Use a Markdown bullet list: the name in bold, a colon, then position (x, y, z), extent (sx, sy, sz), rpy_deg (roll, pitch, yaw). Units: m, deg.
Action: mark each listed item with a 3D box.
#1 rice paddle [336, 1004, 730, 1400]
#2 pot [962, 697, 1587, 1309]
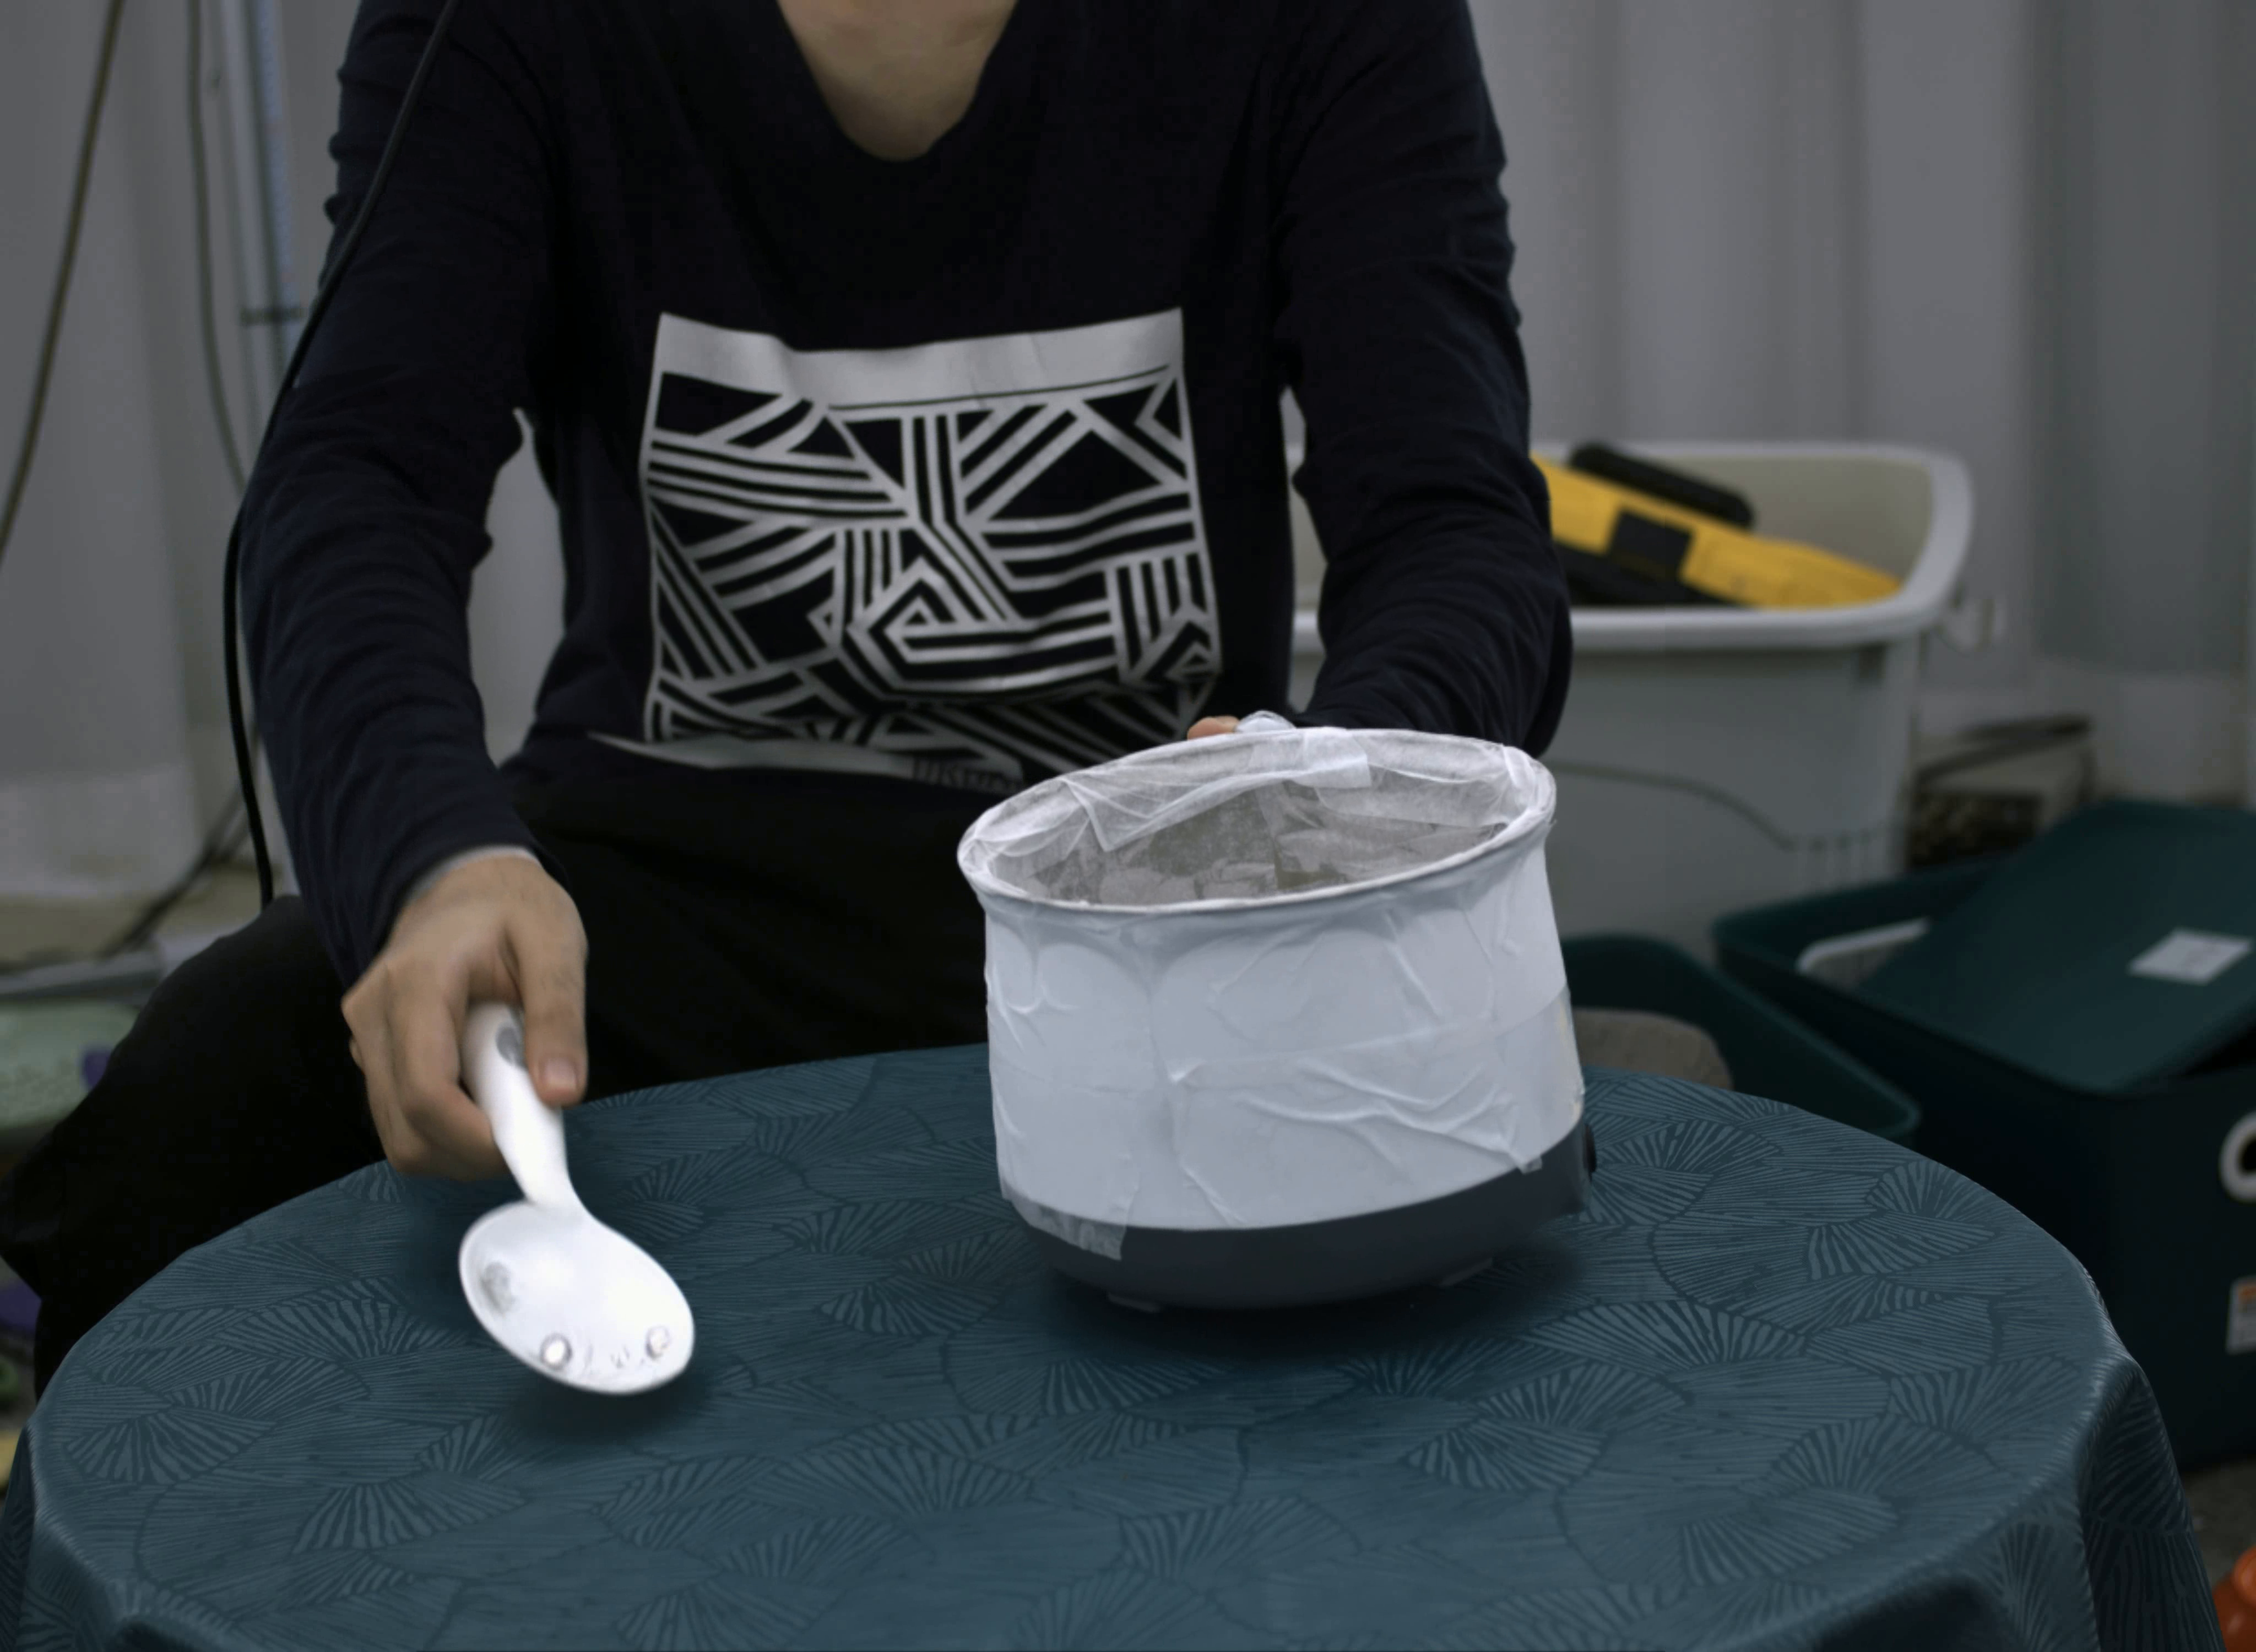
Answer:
- **rice paddle**: position (-0.177, 0.112, 1.595), extent (0.068, 0.029, 0.208), rpy_deg (7, 22, -35)
- **pot**: position (0.045, 0.047, 1.644), extent (0.178, 0.136, 0.235), rpy_deg (-4, 17, 2)
